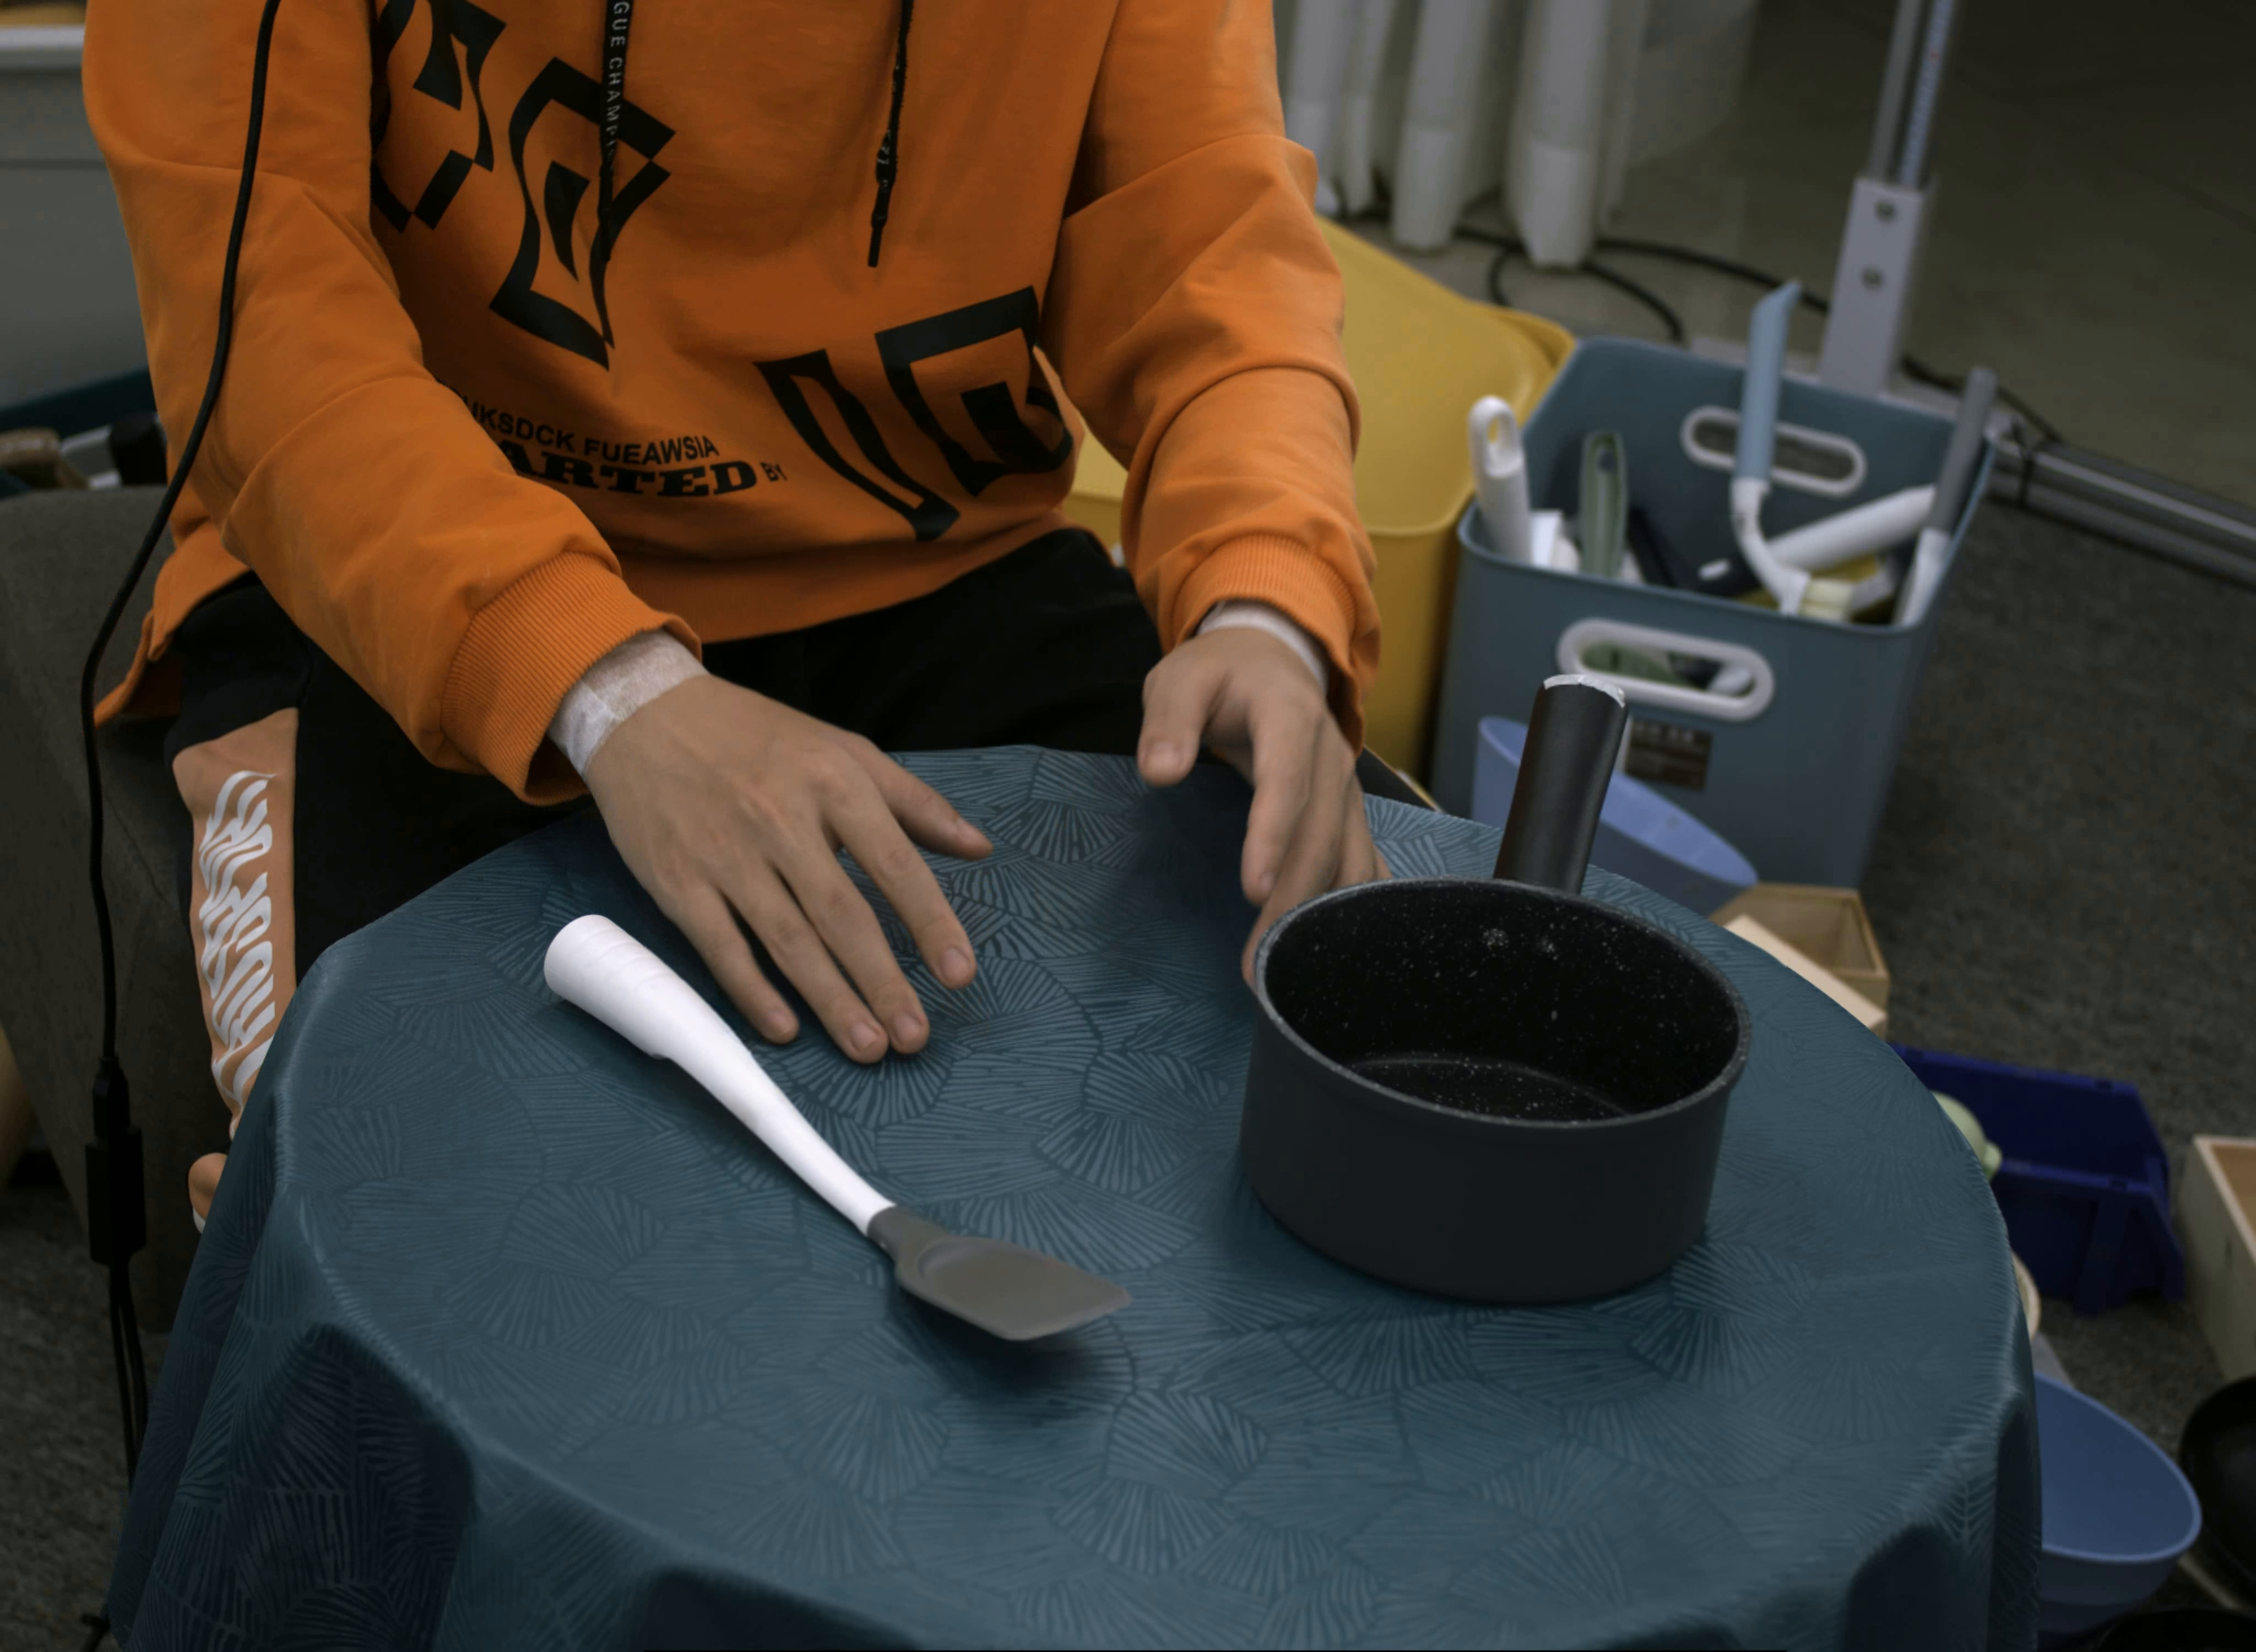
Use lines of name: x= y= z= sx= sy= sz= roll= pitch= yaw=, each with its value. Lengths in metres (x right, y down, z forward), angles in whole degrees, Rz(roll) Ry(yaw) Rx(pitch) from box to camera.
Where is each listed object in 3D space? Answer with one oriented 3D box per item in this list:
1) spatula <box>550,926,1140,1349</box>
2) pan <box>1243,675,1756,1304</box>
spatula: x=-0.102 y=0.108 z=1.777 sx=0.058 sy=0.032 sz=0.290 roll=-10 pitch=30 yaw=-38
pan: x=0.141 y=0.053 z=1.880 sx=0.172 sy=0.086 sz=0.330 roll=12 pitch=29 yaw=9
